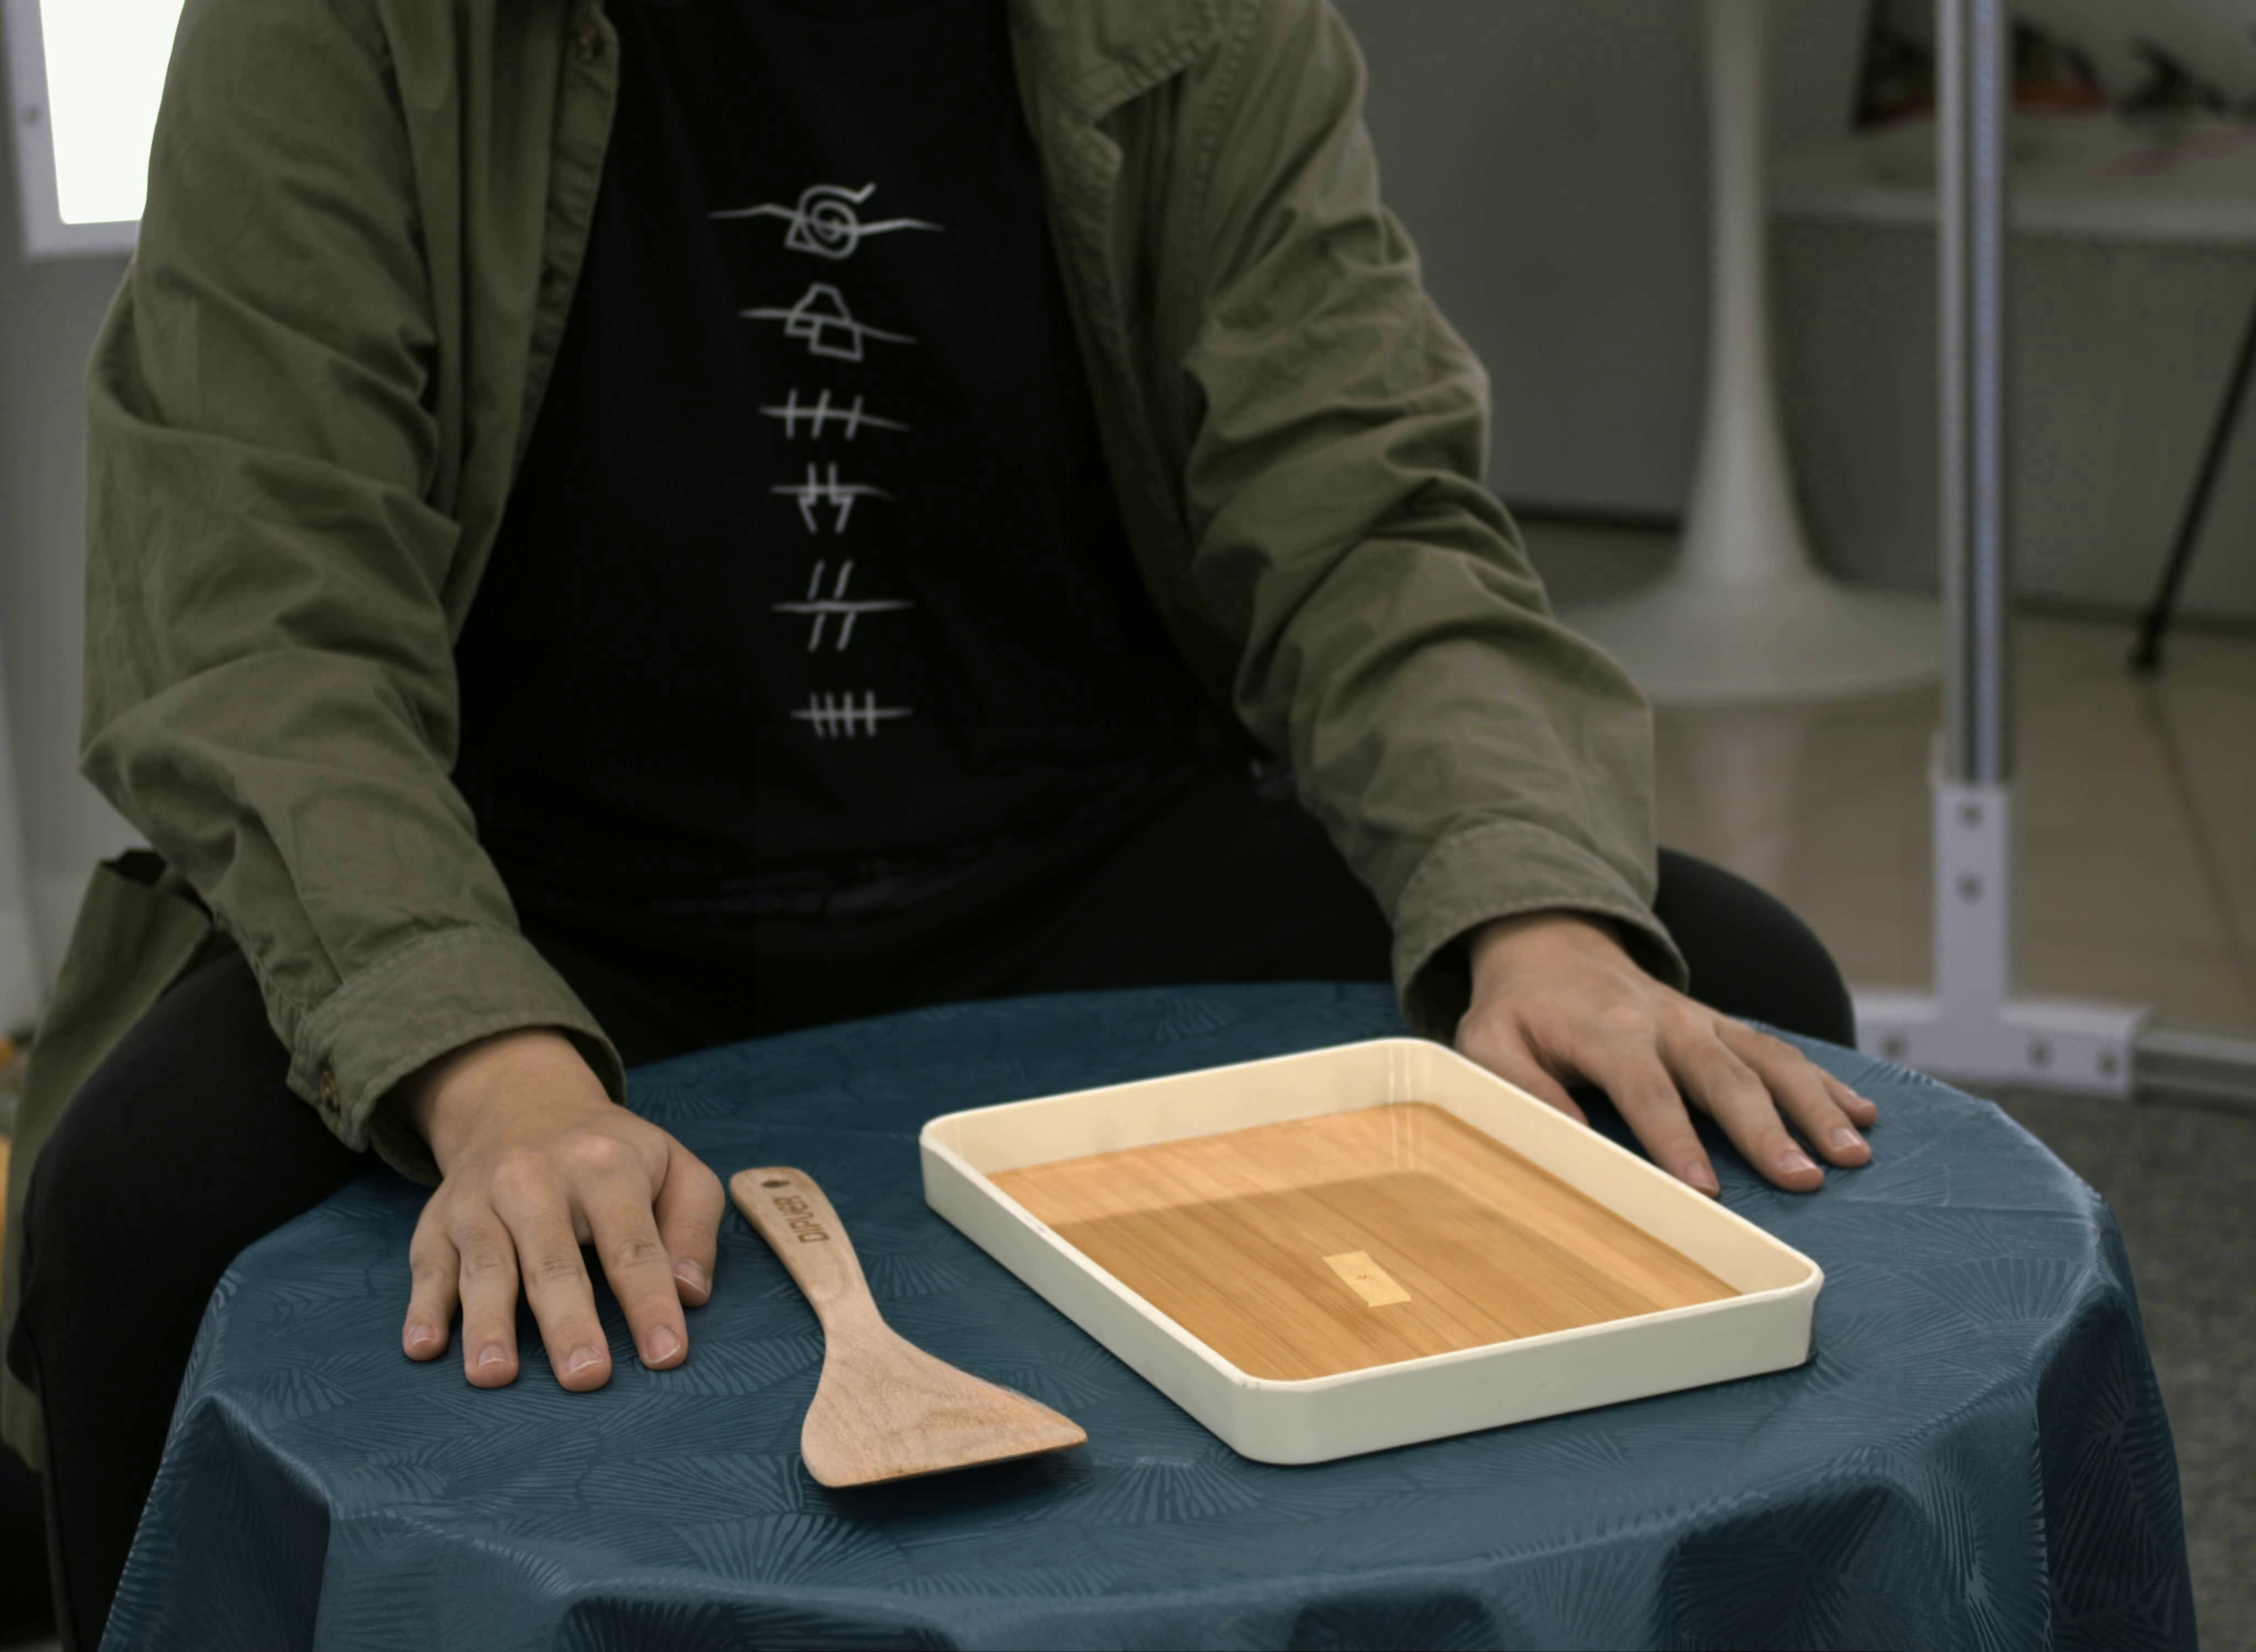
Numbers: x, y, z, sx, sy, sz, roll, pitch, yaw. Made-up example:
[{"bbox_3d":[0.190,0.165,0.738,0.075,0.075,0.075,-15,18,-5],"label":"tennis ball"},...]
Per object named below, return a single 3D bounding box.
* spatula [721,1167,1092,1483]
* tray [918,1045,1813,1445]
[{"bbox_3d":[-0.083,0.148,1.650,0.078,0.017,0.330,-7,14,-13],"label":"spatula"},{"bbox_3d":[0.067,0.125,1.674,0.187,0.028,0.303,-8,13,-19],"label":"tray"}]
